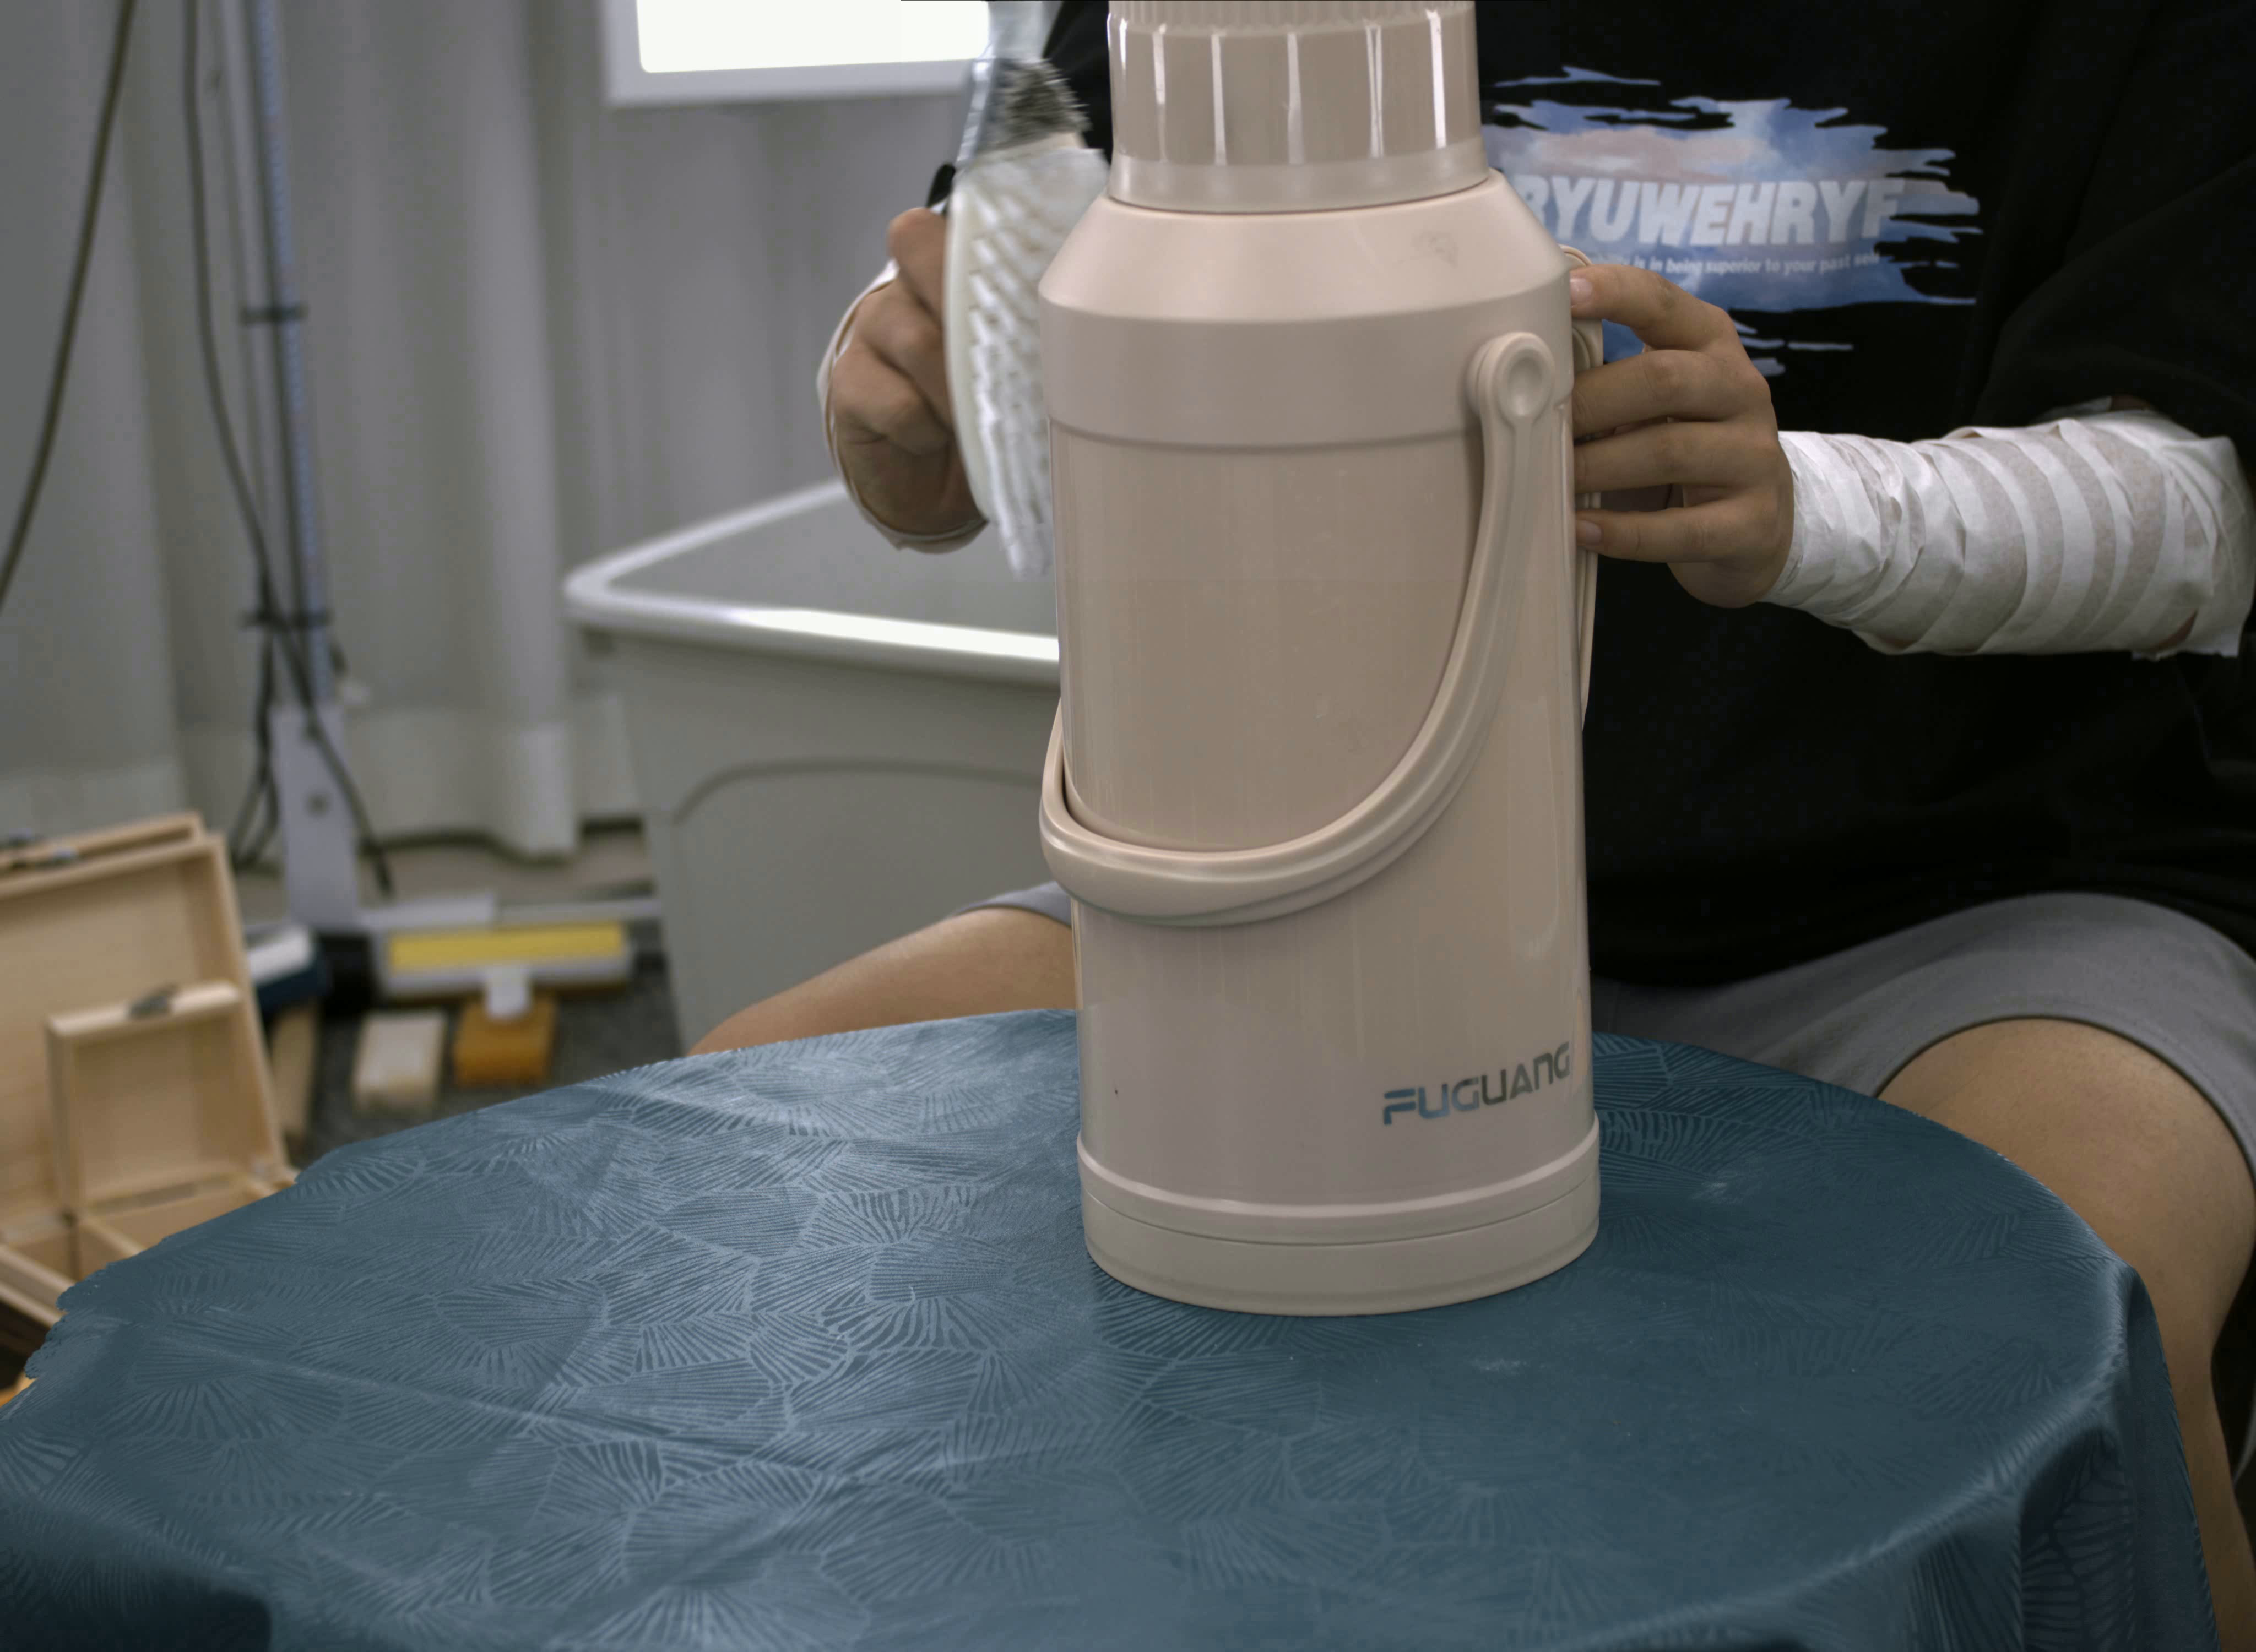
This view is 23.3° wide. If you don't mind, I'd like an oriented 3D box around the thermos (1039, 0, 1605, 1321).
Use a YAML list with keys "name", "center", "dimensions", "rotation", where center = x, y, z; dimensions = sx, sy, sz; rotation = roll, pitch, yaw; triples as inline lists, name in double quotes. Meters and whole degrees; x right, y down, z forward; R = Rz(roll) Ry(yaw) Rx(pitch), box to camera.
- name: "thermos"
  center: [0.067, -0.070, 1.631]
  dimensions: [0.206, 0.405, 0.176]
  rotation: [-15, 17, -42]

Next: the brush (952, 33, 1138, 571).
- name: "brush"
  center: [-0.026, -0.176, 1.717]
  dimensions: [0.061, 0.173, 0.095]
  rotation: [-17, 37, -18]
